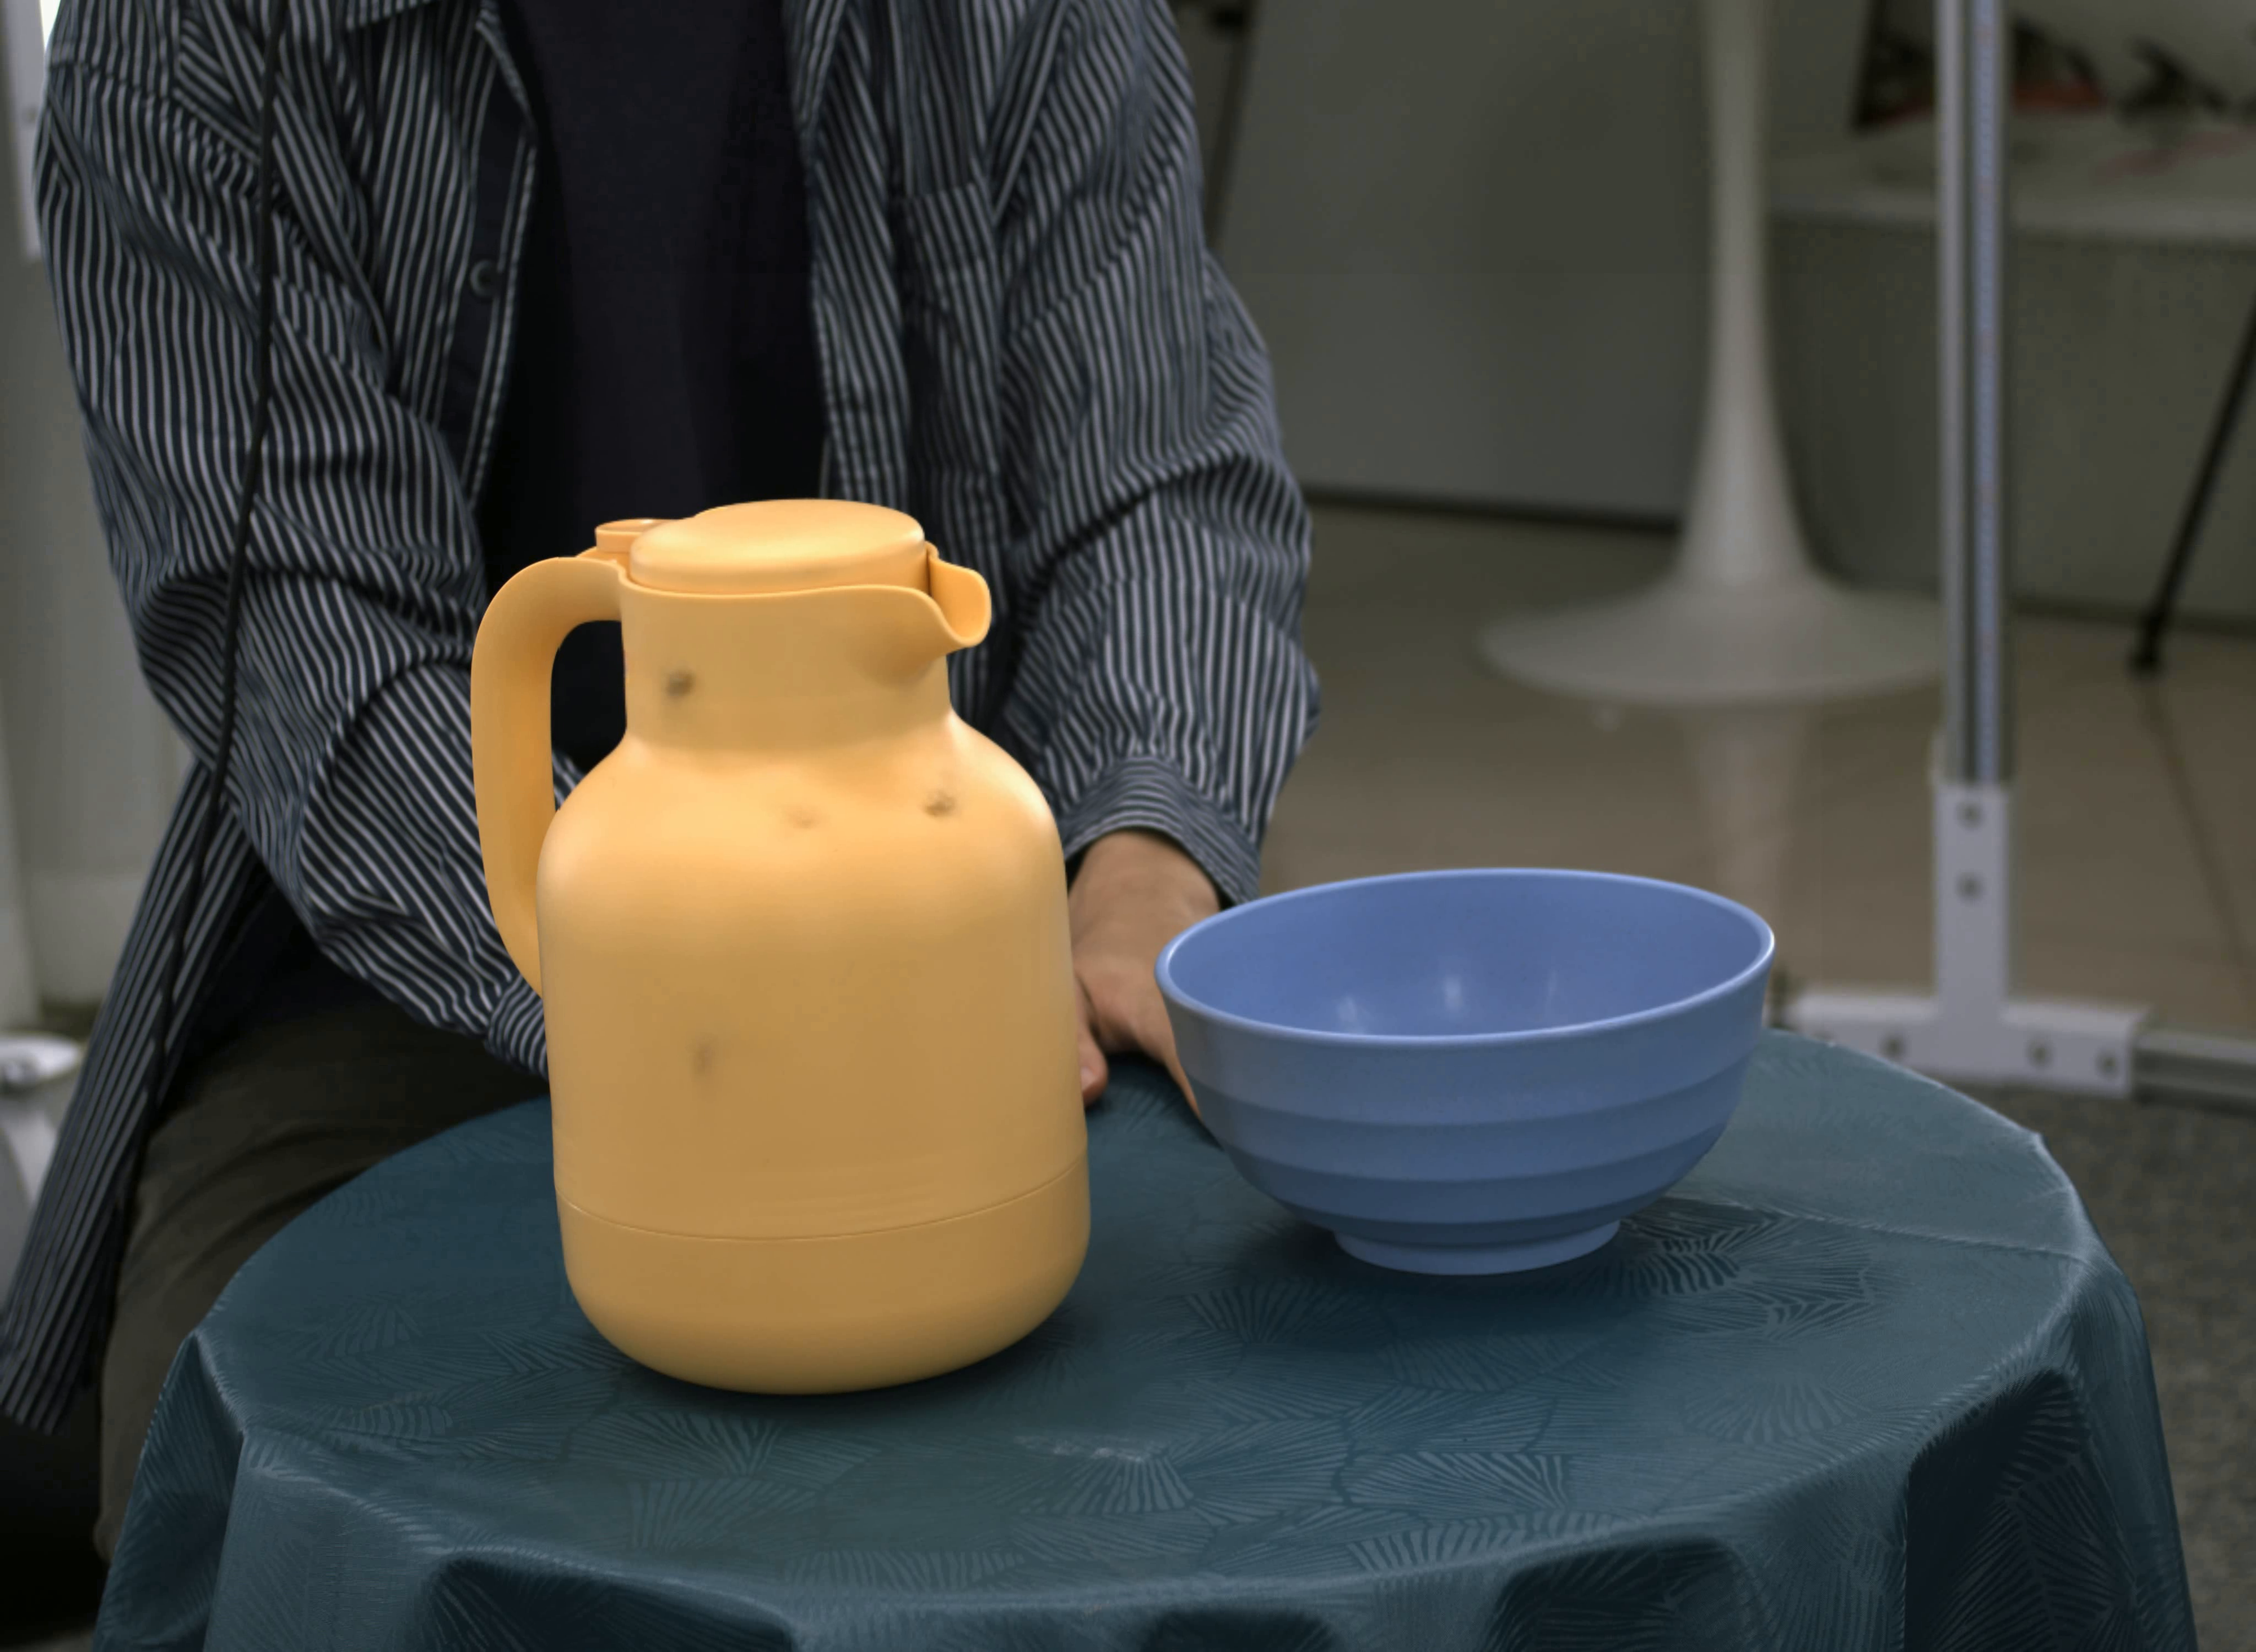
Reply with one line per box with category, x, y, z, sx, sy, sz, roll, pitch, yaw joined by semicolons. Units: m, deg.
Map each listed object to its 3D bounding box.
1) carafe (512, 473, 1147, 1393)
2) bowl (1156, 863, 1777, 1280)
carafe;-0.096;0.026;1.633;0.204;0.263;0.160;6;16;37
bowl;0.108;0.083;1.694;0.194;0.096;0.197;-4;14;0
